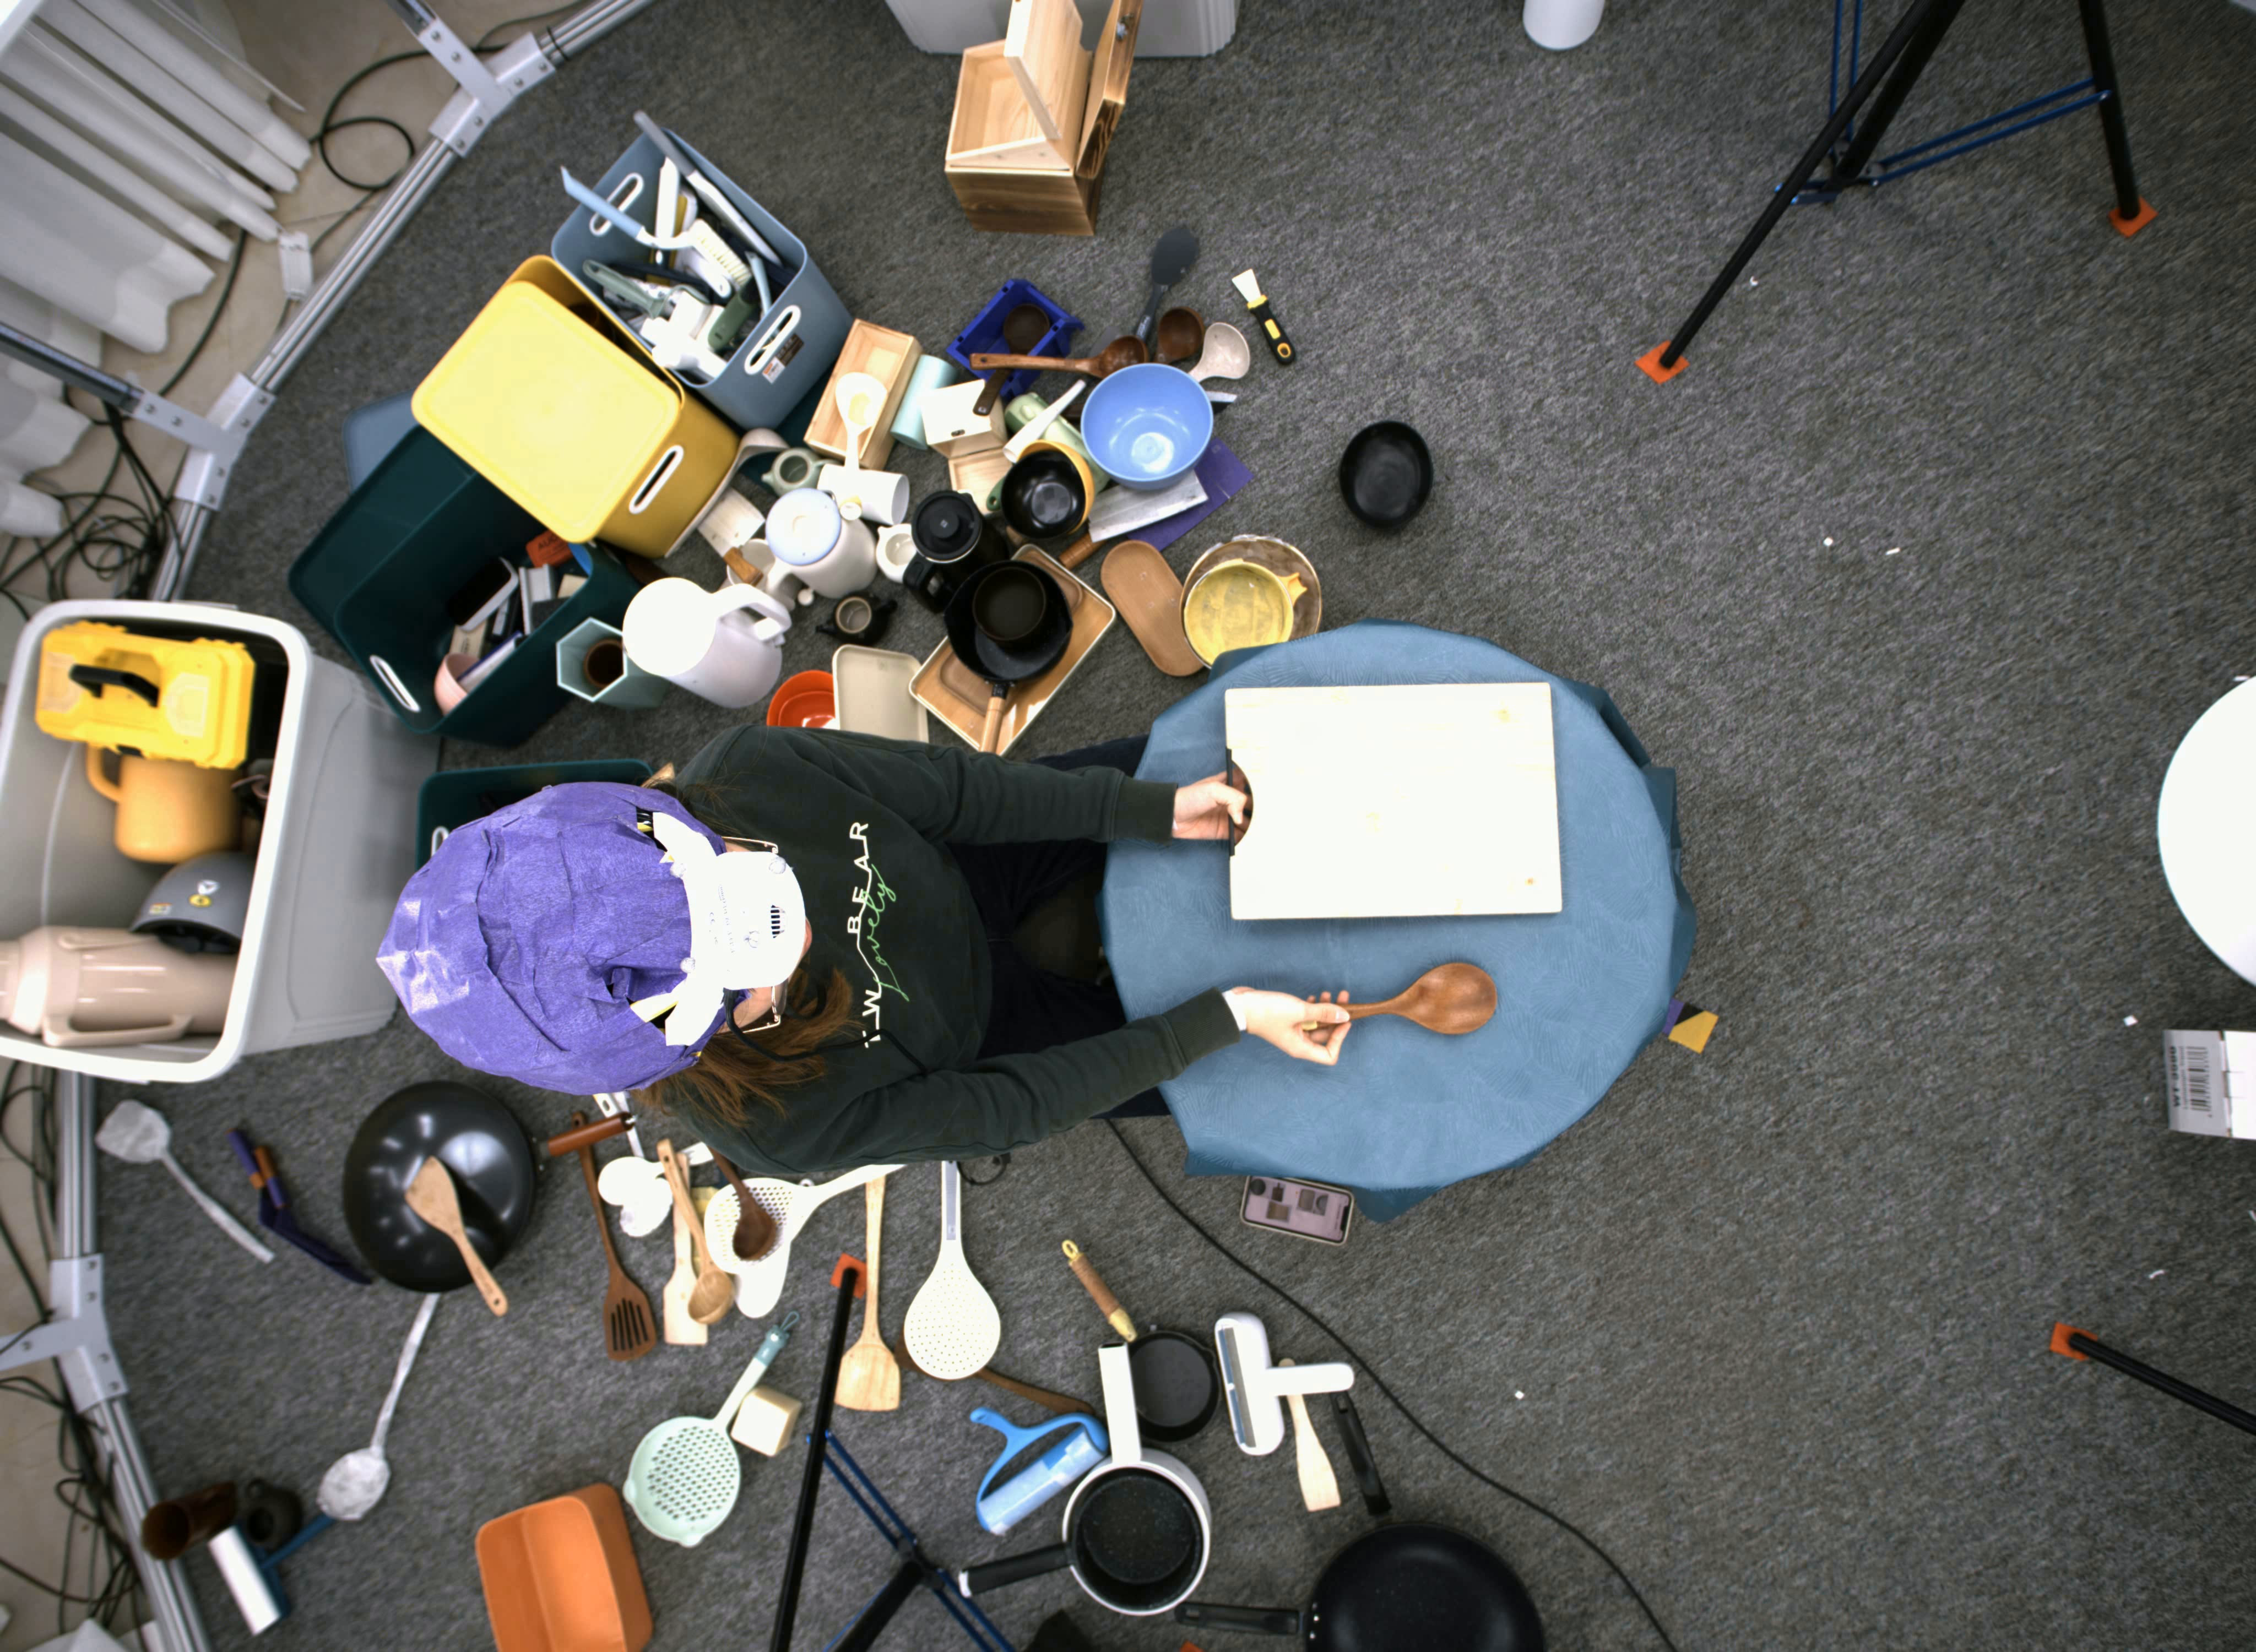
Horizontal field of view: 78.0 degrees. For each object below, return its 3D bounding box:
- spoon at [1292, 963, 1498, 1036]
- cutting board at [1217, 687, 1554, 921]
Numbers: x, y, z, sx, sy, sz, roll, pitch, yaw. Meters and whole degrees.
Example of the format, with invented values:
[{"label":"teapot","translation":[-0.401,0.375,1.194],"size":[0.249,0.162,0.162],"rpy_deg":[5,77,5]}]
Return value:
[{"label":"spoon","translation":[0.275,0.185,1.424],"size":[0.216,0.017,0.075],"rpy_deg":[-7,92,-4]},{"label":"cutting board","translation":[0.269,-0.025,1.434],"size":[0.349,0.023,0.249],"rpy_deg":[-2,85,1]}]
